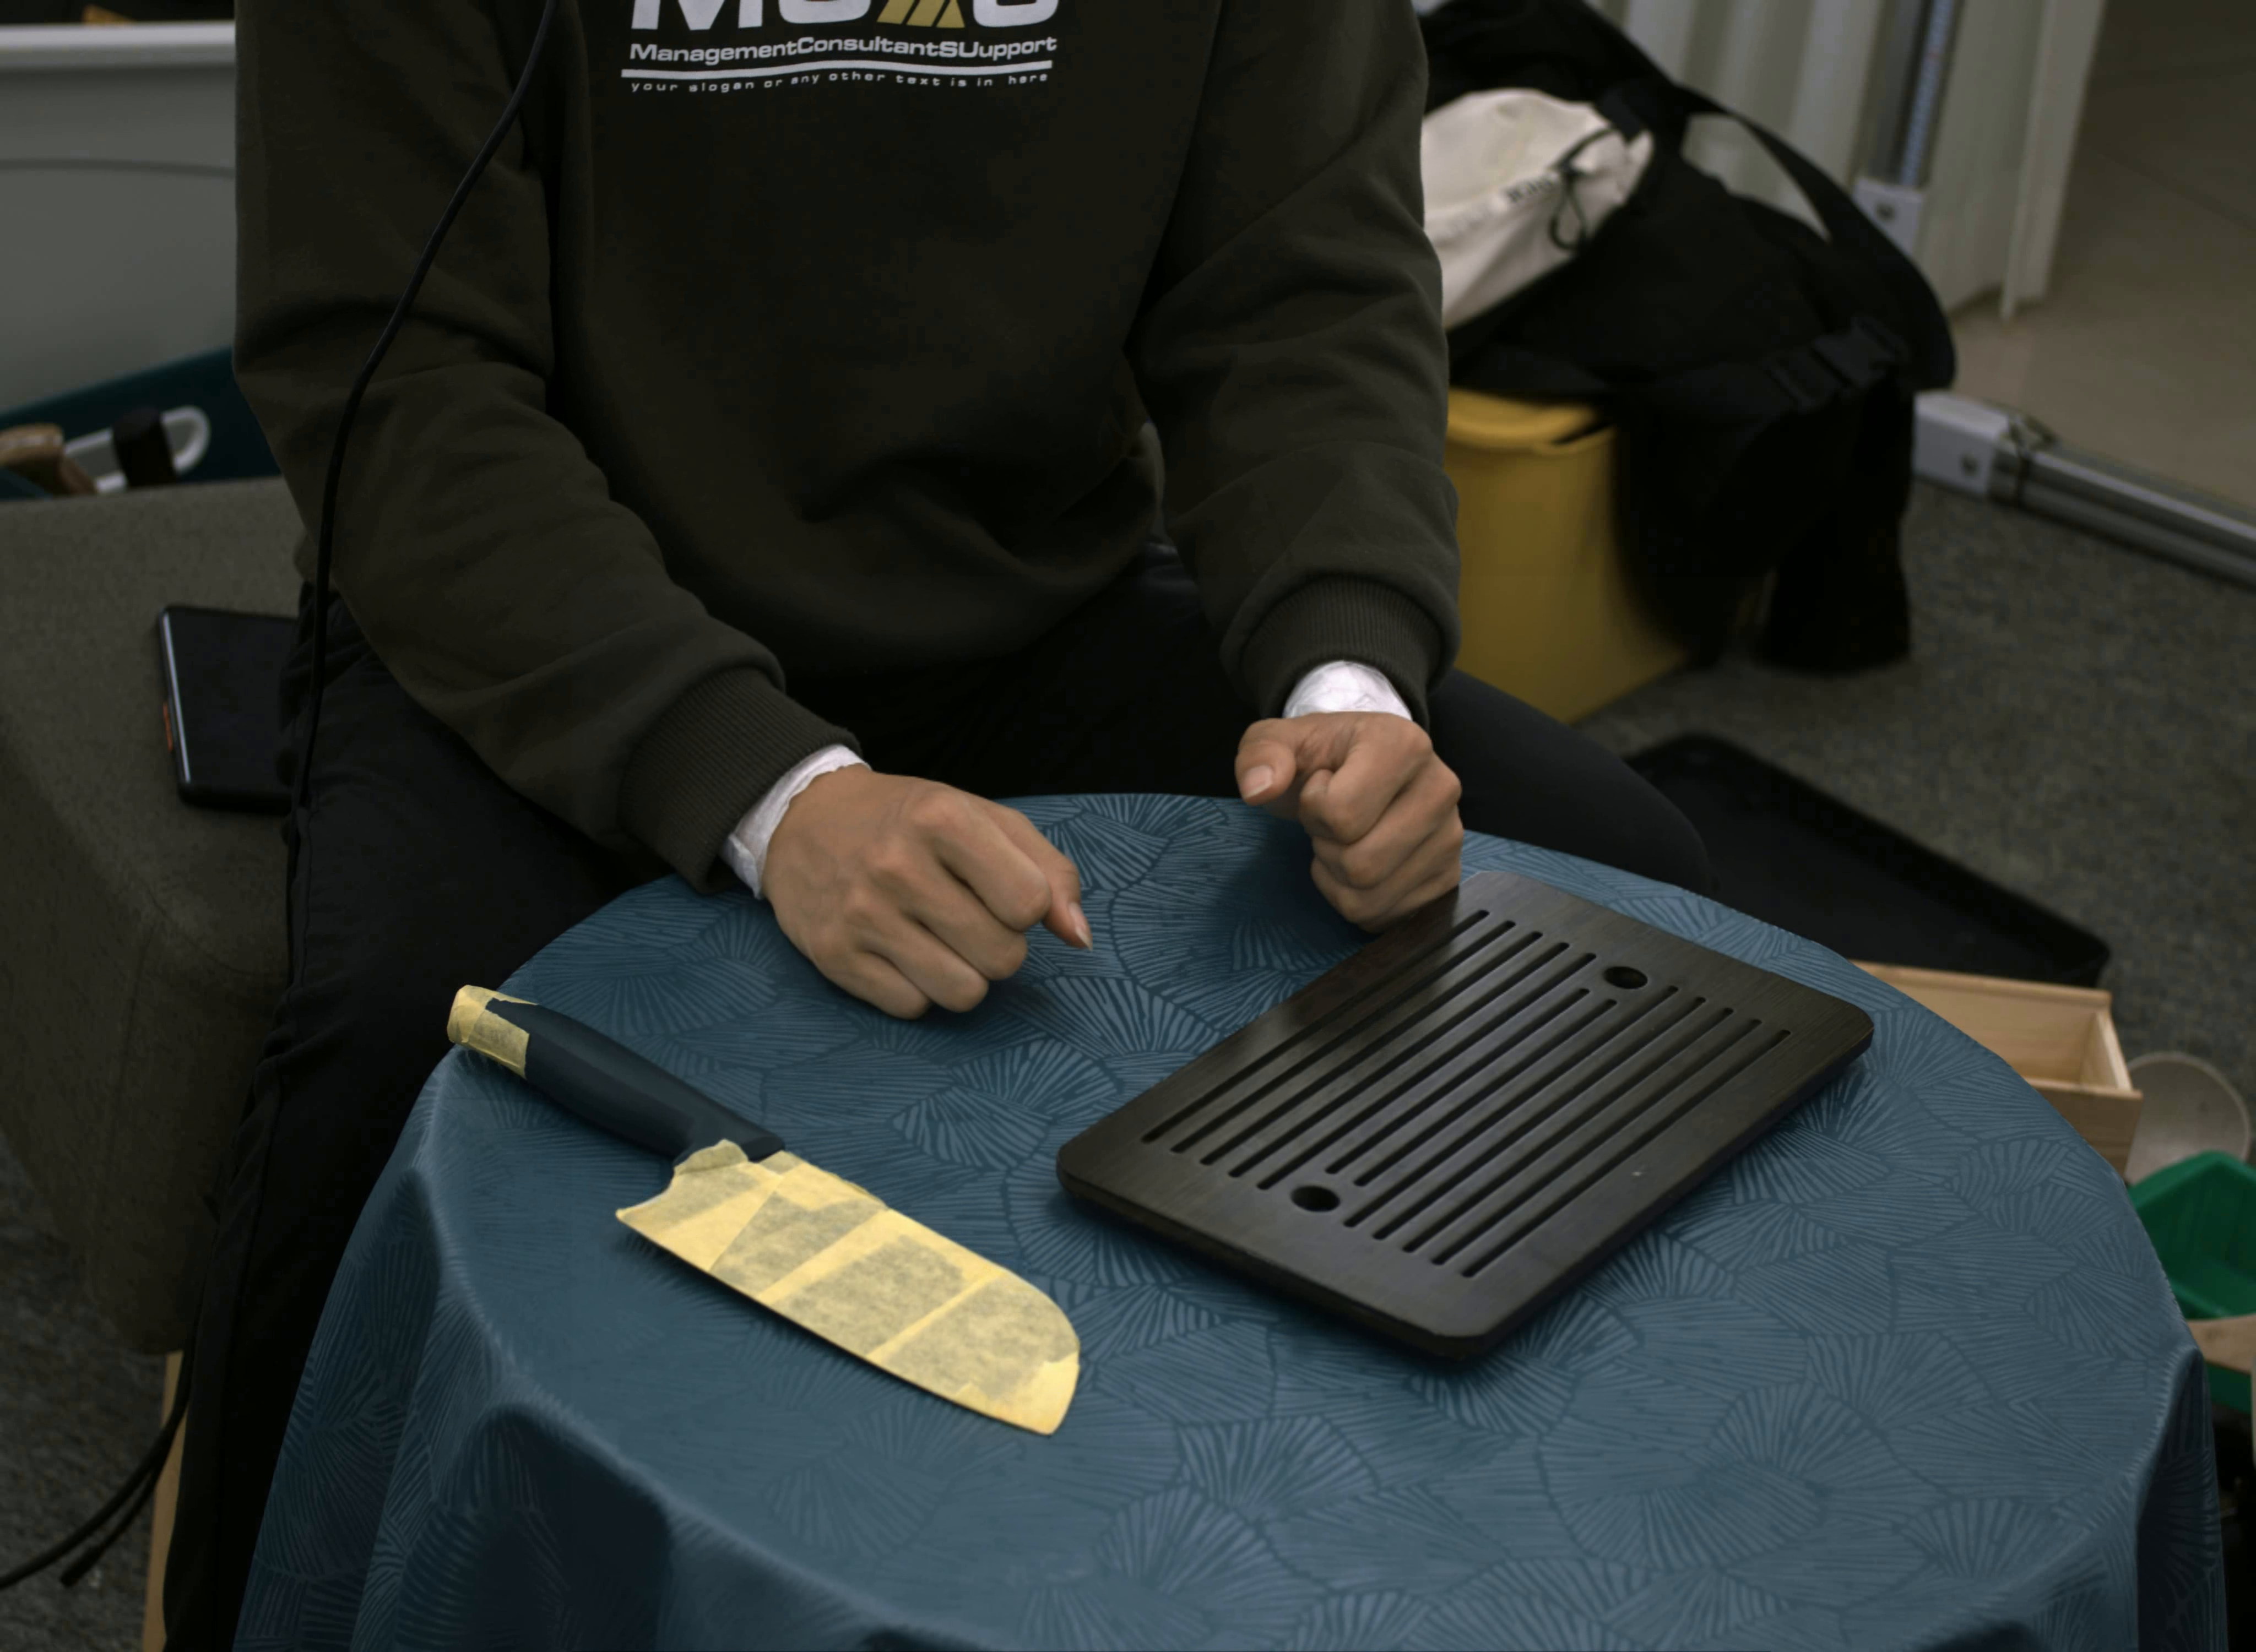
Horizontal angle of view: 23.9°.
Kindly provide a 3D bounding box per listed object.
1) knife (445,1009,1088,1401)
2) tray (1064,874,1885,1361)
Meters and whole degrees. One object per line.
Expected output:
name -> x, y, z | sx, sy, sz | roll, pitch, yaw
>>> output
knife -> -0.127, 0.126, 1.755 | 0.291, 0.027, 0.080 | 26, 31, 32
tray -> 0.126, 0.099, 1.863 | 0.171, 0.018, 0.305 | 21, 30, 28
